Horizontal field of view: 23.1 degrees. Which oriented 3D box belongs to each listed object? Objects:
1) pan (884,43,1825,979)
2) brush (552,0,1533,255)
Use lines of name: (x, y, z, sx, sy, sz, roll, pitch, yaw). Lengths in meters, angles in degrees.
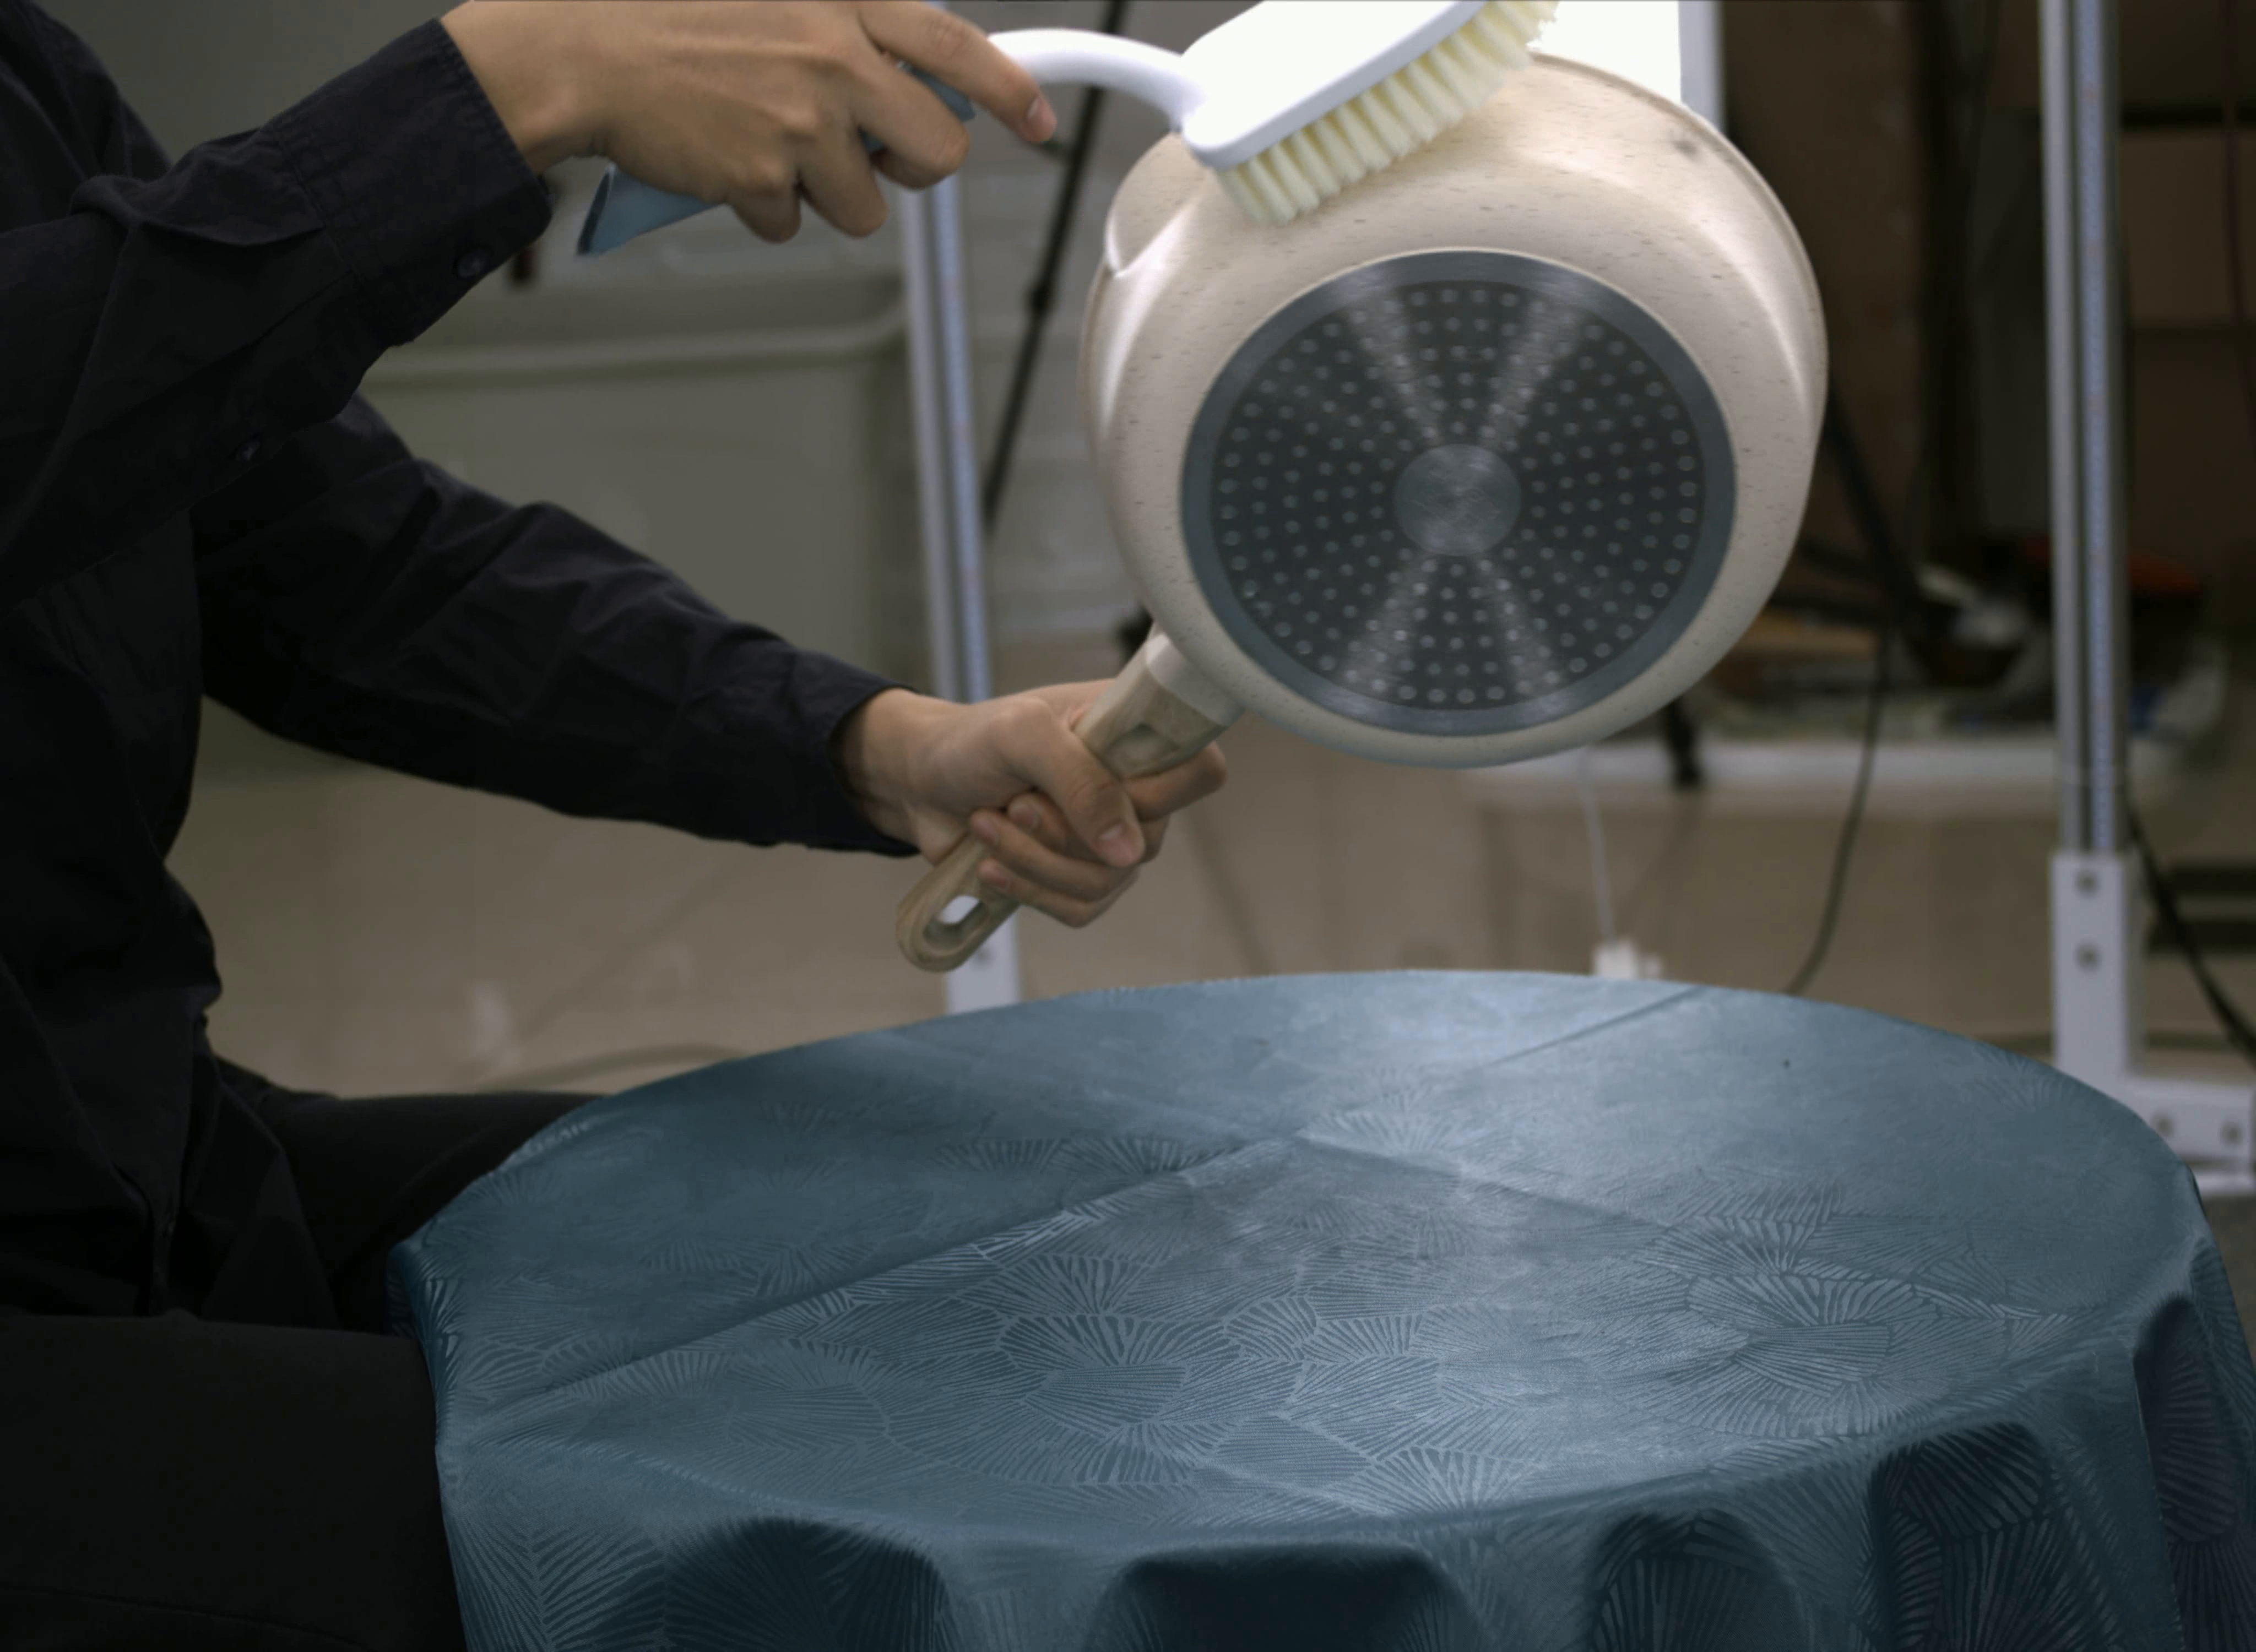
pan: (0.053, -0.070, 1.853, 0.260, 0.442, 0.101, 32, 30, -18)
brush: (-0.021, -0.218, 1.737, 0.327, 0.085, 0.082, -19, -1, 9)
